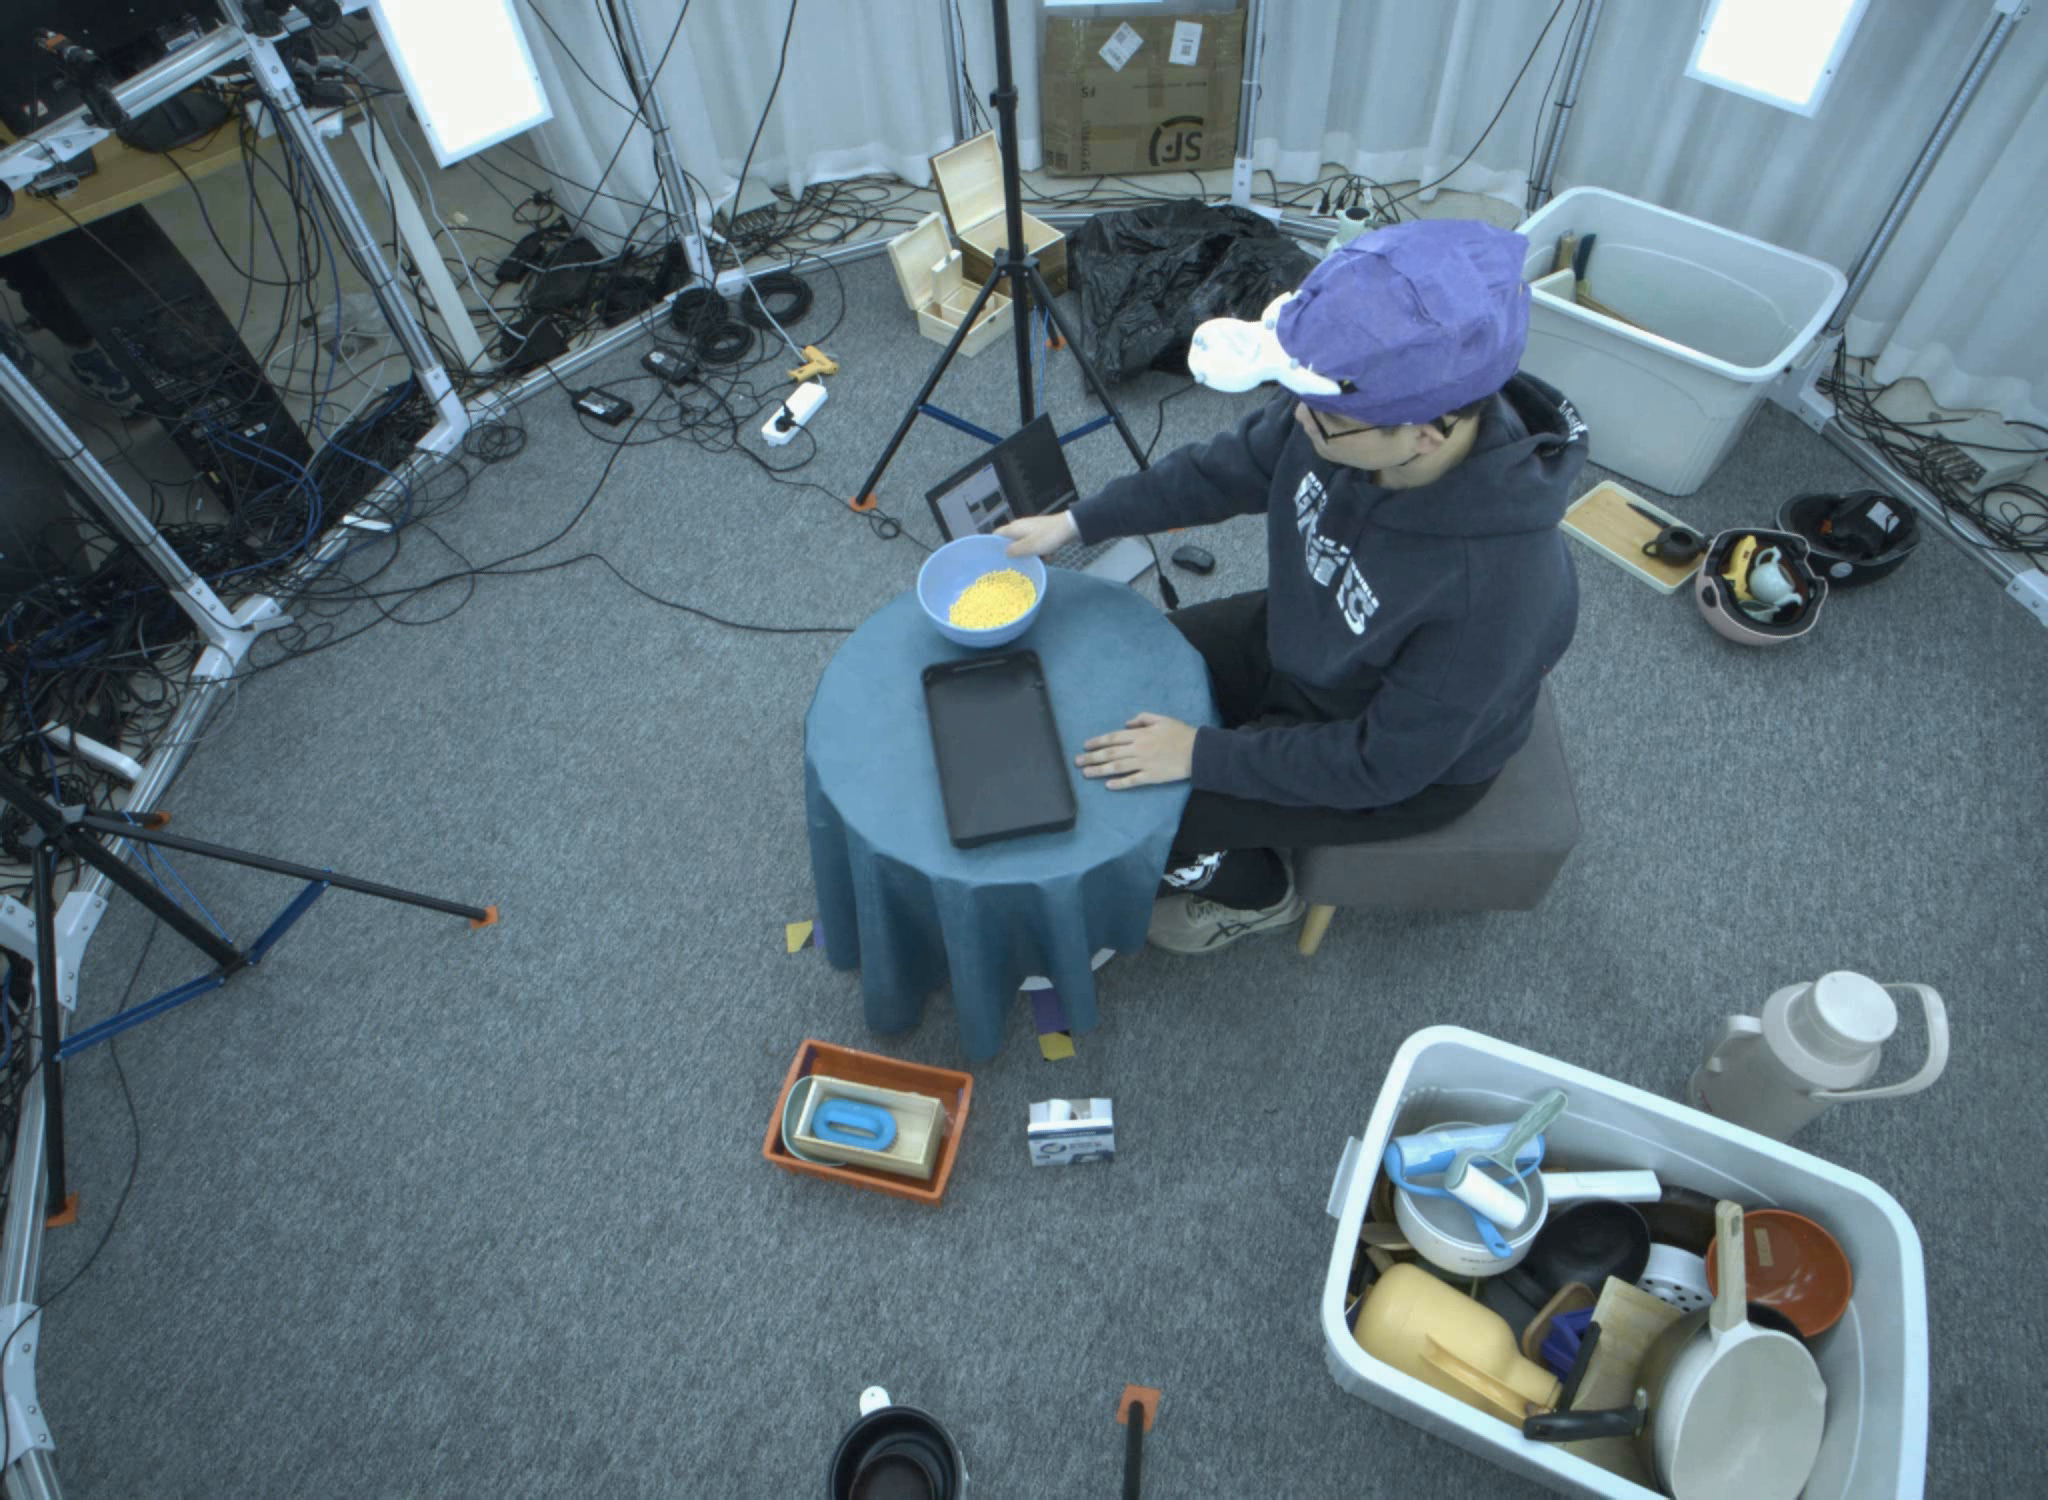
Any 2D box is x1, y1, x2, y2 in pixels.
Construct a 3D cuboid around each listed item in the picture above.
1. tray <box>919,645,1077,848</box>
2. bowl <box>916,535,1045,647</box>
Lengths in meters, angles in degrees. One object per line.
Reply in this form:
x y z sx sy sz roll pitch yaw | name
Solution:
-0.041 -0.011 1.773 0.185 0.037 0.313 -9 55 -5 | tray
-0.063 -0.230 1.891 0.196 0.096 0.194 -1 55 3 | bowl
